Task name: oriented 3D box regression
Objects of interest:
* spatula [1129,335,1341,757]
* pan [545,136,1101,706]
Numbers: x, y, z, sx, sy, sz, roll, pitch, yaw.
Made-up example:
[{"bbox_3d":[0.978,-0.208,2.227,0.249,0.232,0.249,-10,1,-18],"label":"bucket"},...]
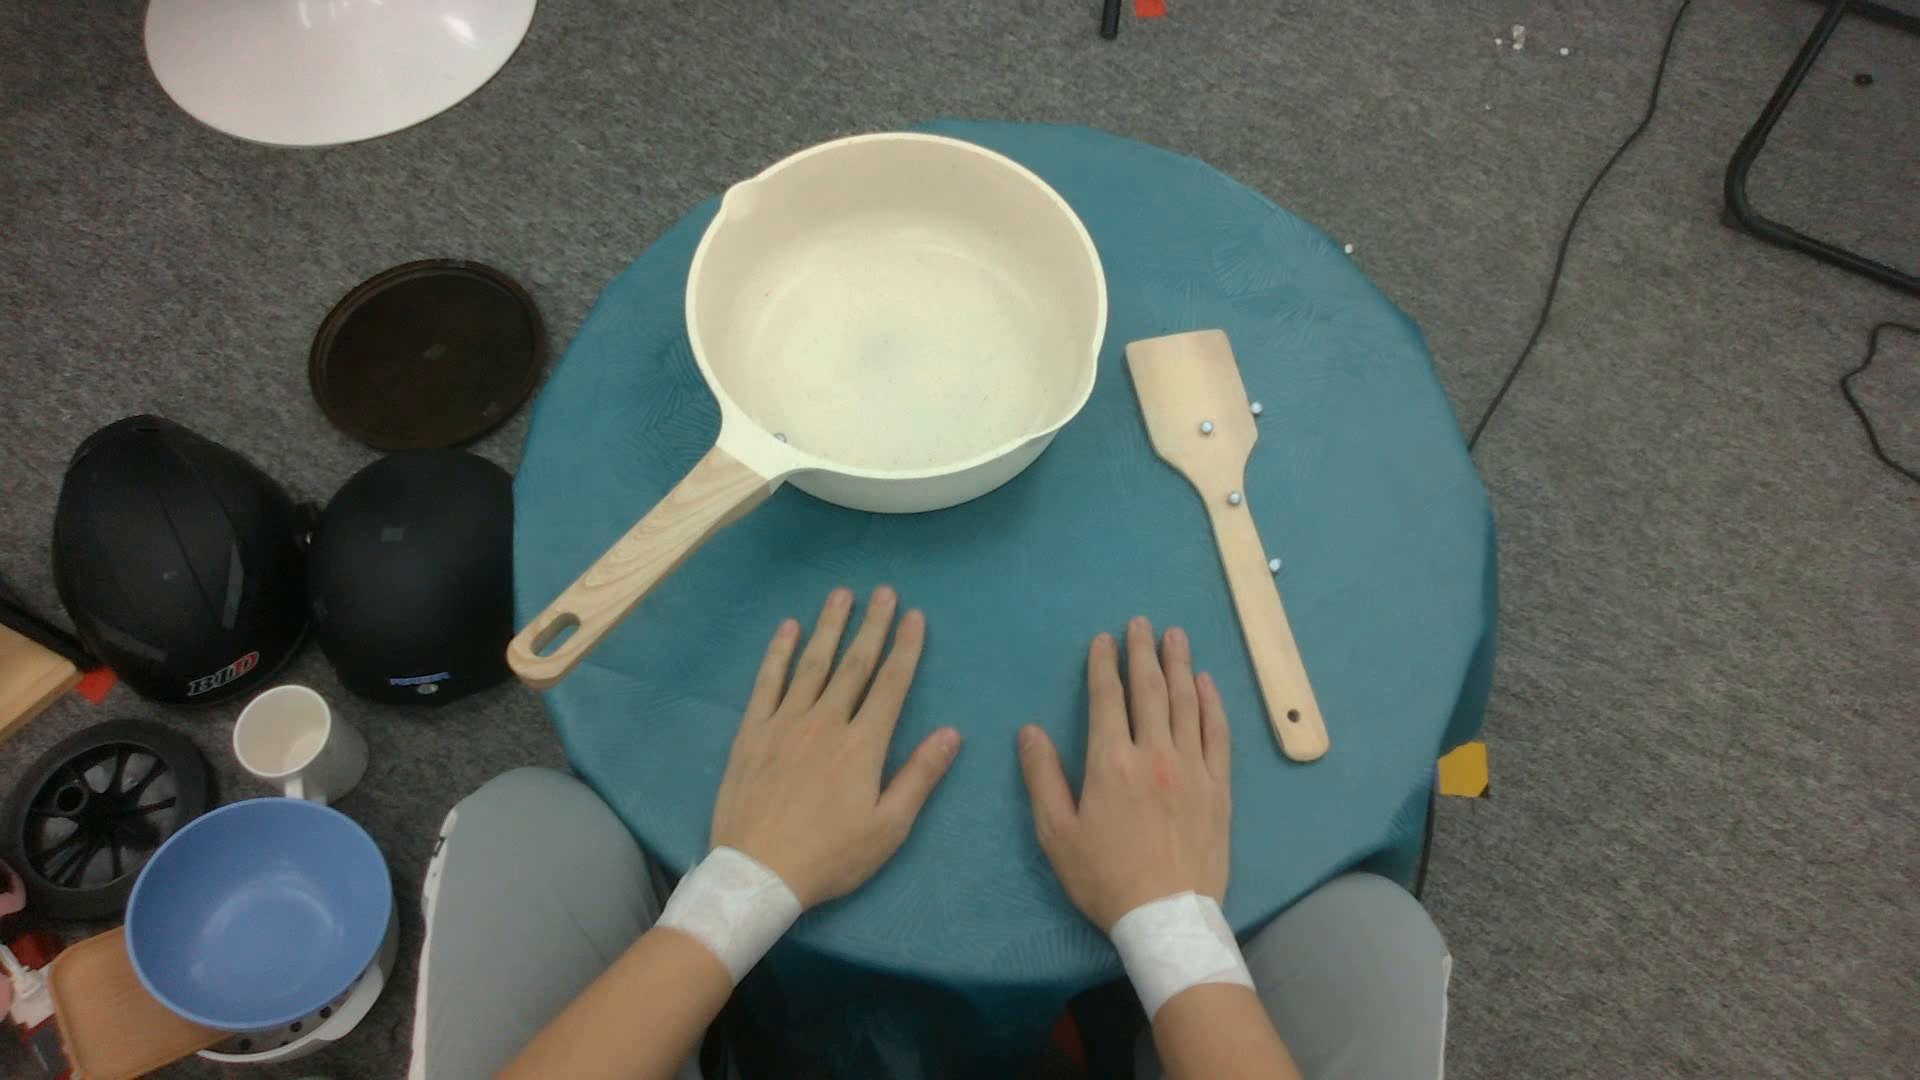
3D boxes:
[{"bbox_3d":[0.177,-0.004,0.851,0.072,0.010,0.294,-10,63,-7],"label":"spatula"},{"bbox_3d":[-0.091,-0.065,0.829,0.263,0.101,0.436,31,67,13],"label":"pan"}]
